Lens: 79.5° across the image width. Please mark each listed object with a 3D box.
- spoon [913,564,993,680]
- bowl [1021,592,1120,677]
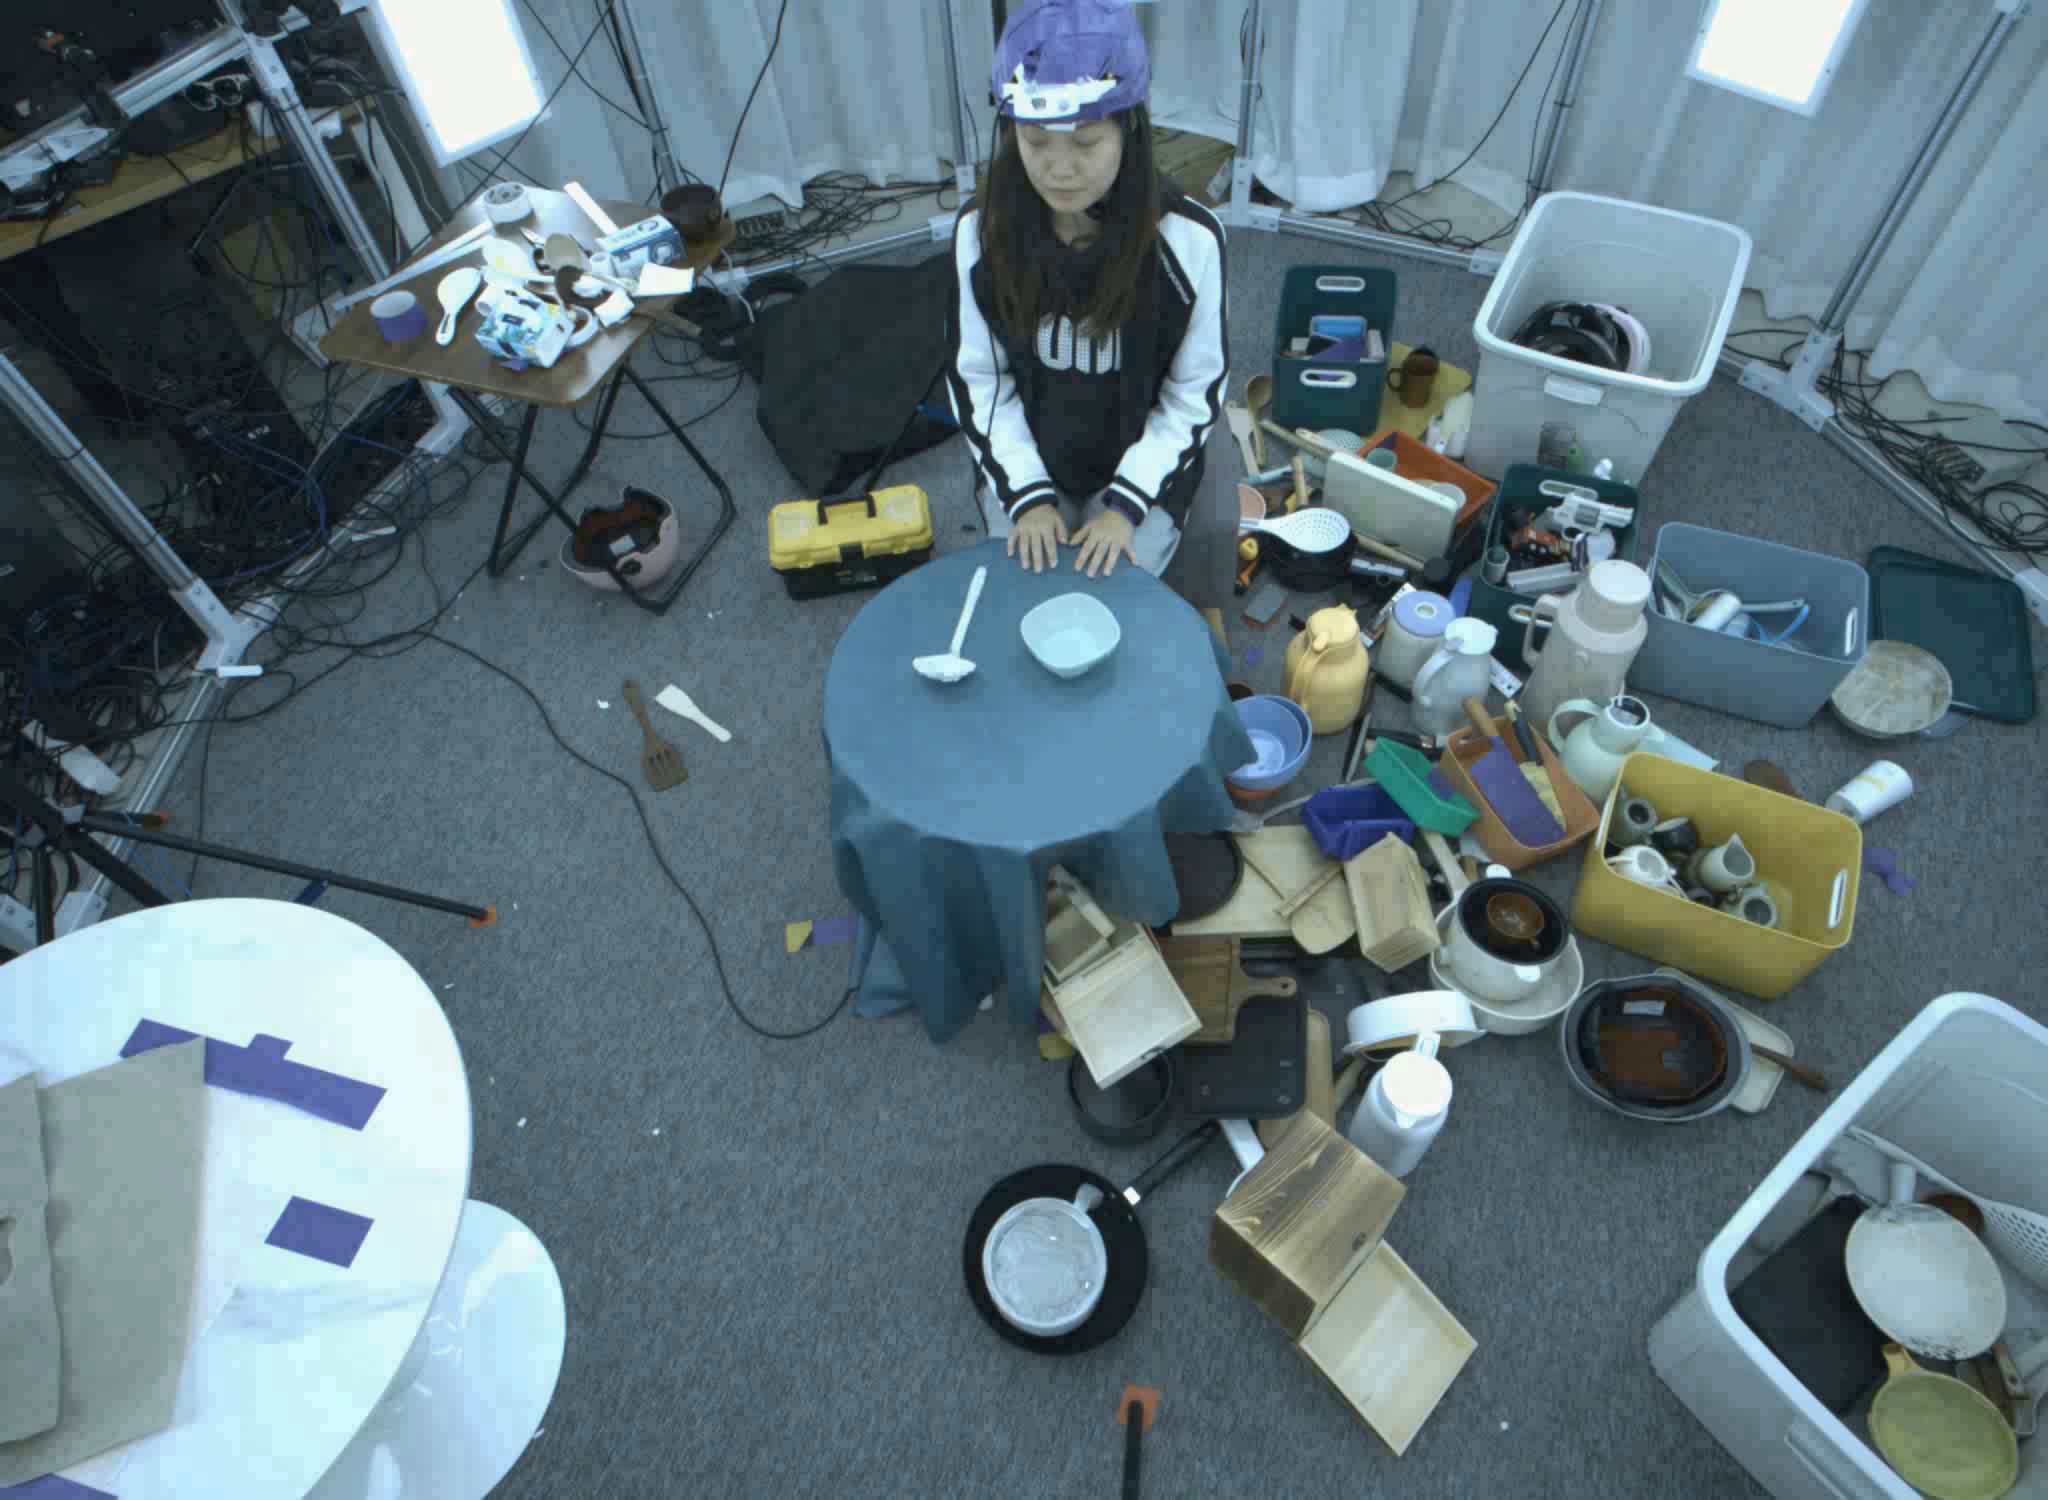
[{"bbox_3d":[-0.090,-0.206,1.901,0.100,0.060,0.276,14,57,7],"label":"spoon"},{"bbox_3d":[0.071,-0.165,1.870,0.151,0.059,0.150,0,55,2],"label":"bowl"}]
